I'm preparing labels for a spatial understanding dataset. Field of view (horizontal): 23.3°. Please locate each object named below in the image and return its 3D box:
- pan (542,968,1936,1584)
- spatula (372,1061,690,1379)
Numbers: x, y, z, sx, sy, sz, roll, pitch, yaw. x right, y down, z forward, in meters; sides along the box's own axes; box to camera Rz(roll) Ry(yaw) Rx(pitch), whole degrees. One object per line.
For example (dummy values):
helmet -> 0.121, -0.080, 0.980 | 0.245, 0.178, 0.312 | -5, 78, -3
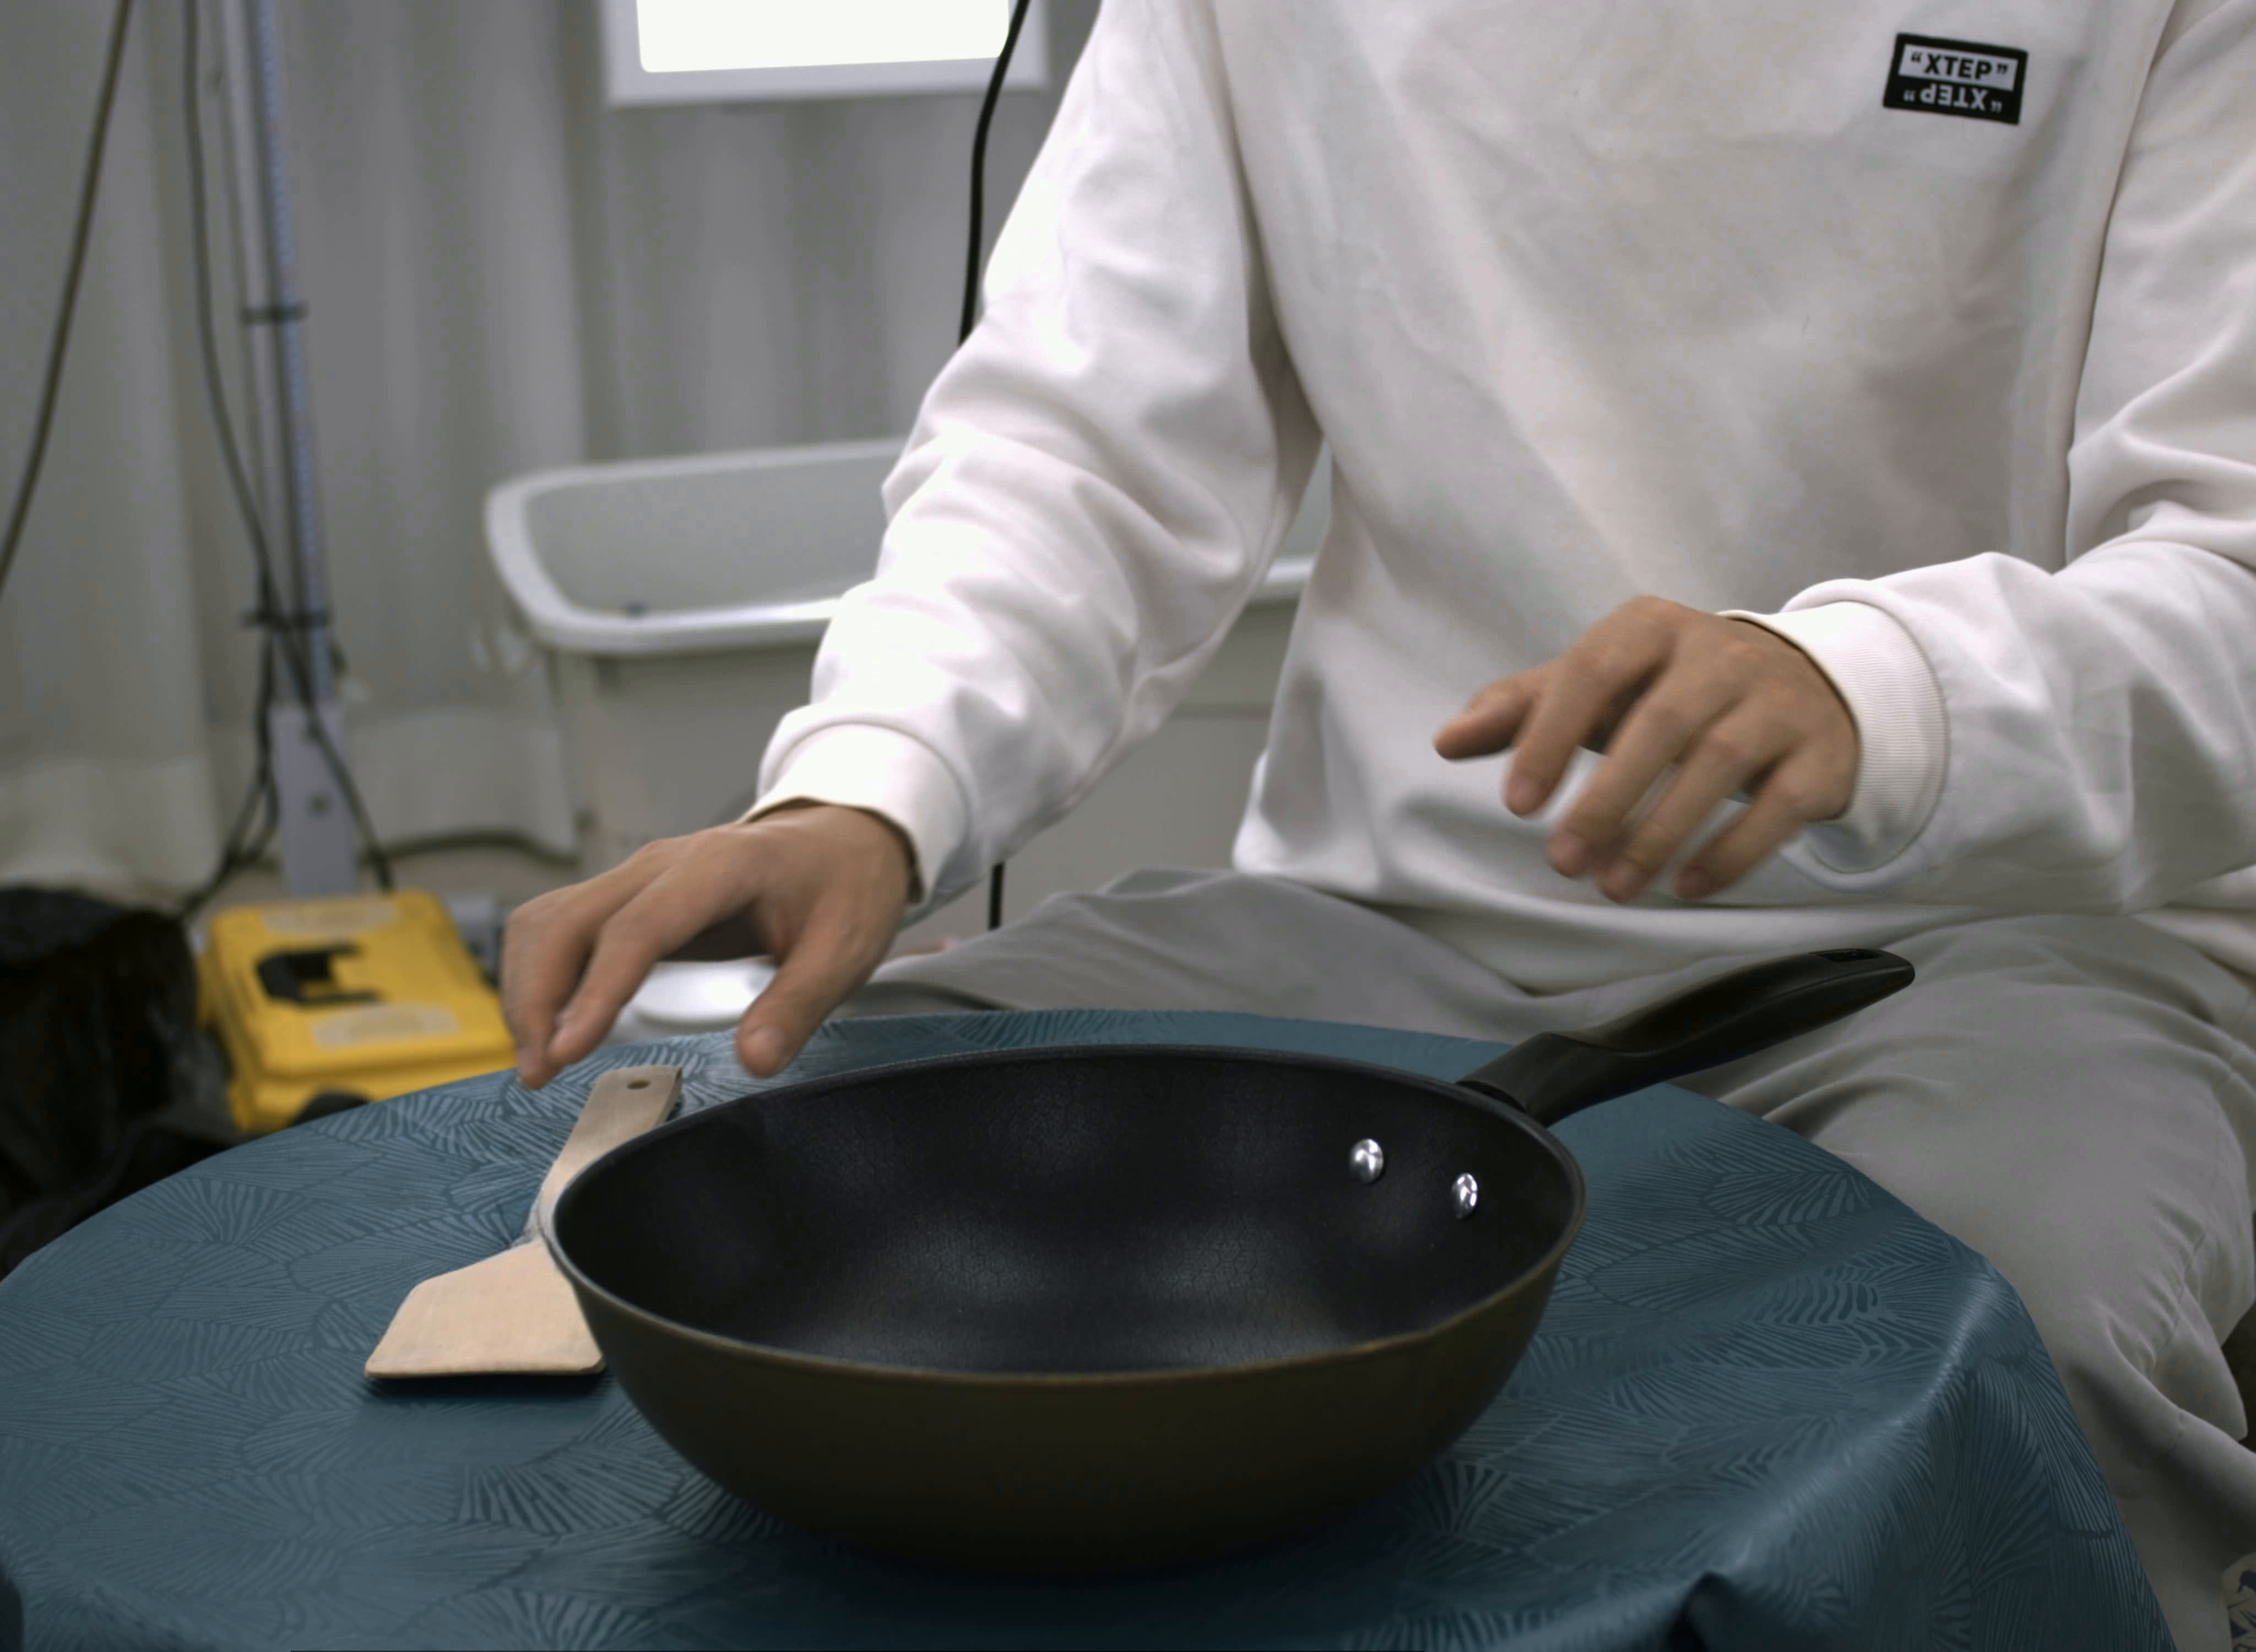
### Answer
pan -> 0.054, 0.120, 1.531 | 0.462, 0.086, 0.290 | -13, 19, -37
spatula -> -0.173, 0.121, 1.708 | 0.072, 0.010, 0.295 | -3, 15, 5
